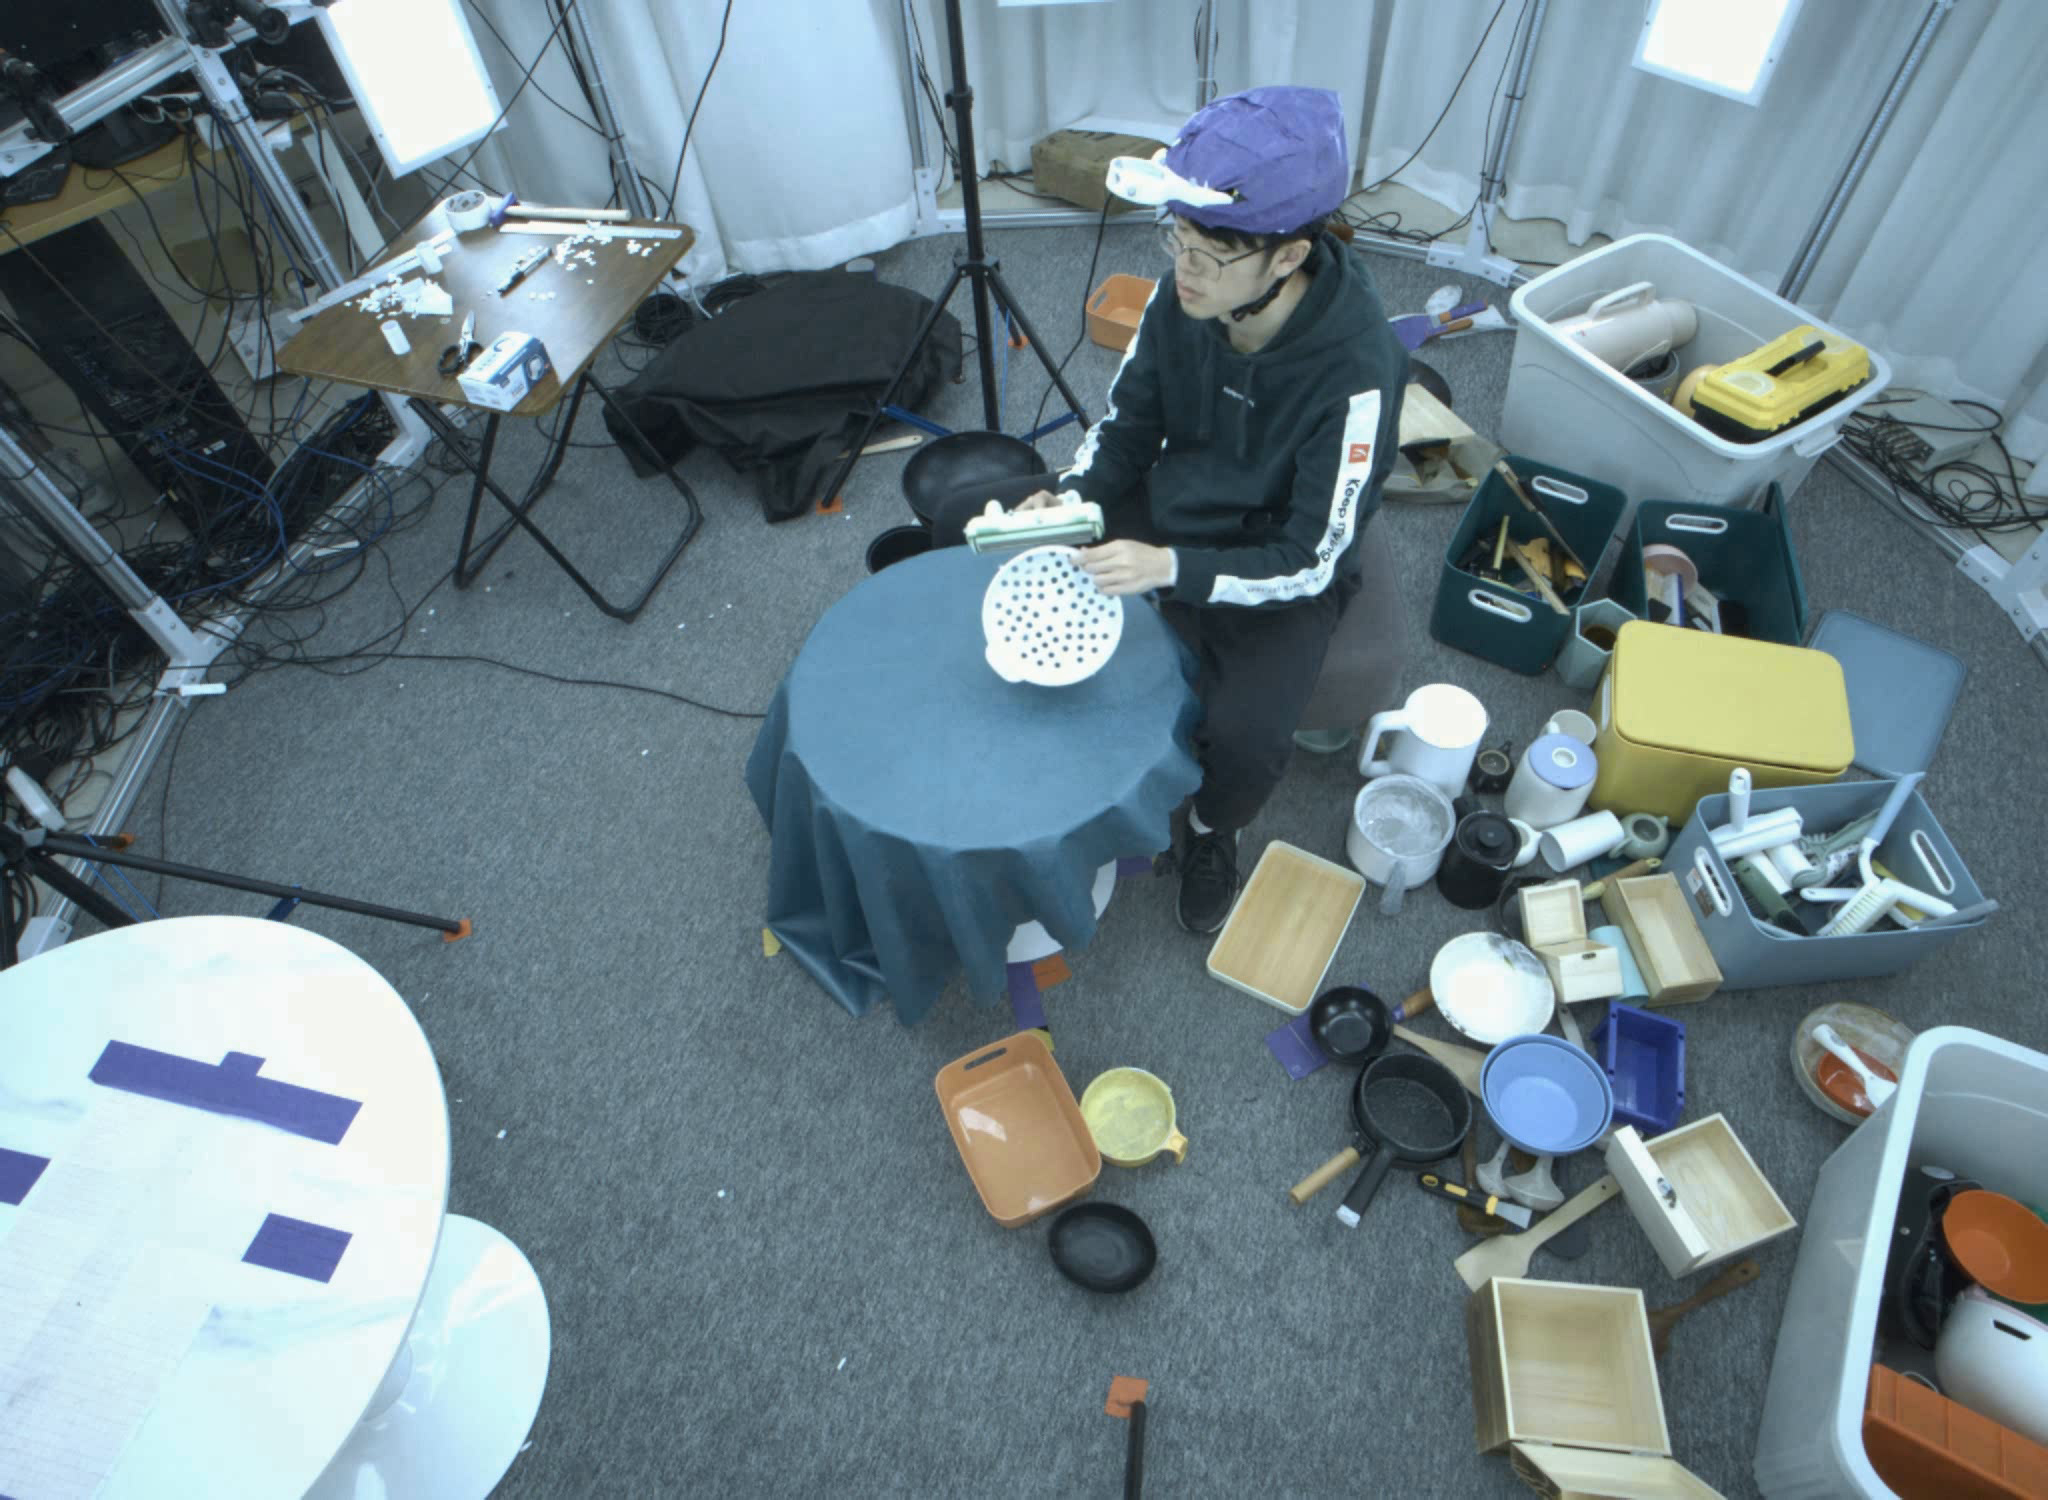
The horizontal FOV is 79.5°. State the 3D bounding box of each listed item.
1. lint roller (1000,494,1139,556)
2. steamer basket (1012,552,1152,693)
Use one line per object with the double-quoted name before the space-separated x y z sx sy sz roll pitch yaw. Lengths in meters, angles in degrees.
"lint roller" 0.073 -0.340 1.816 0.197 0.083 0.183 -4 20 10
"steamer basket" 0.085 -0.186 1.774 0.203 0.229 0.069 45 21 -11
